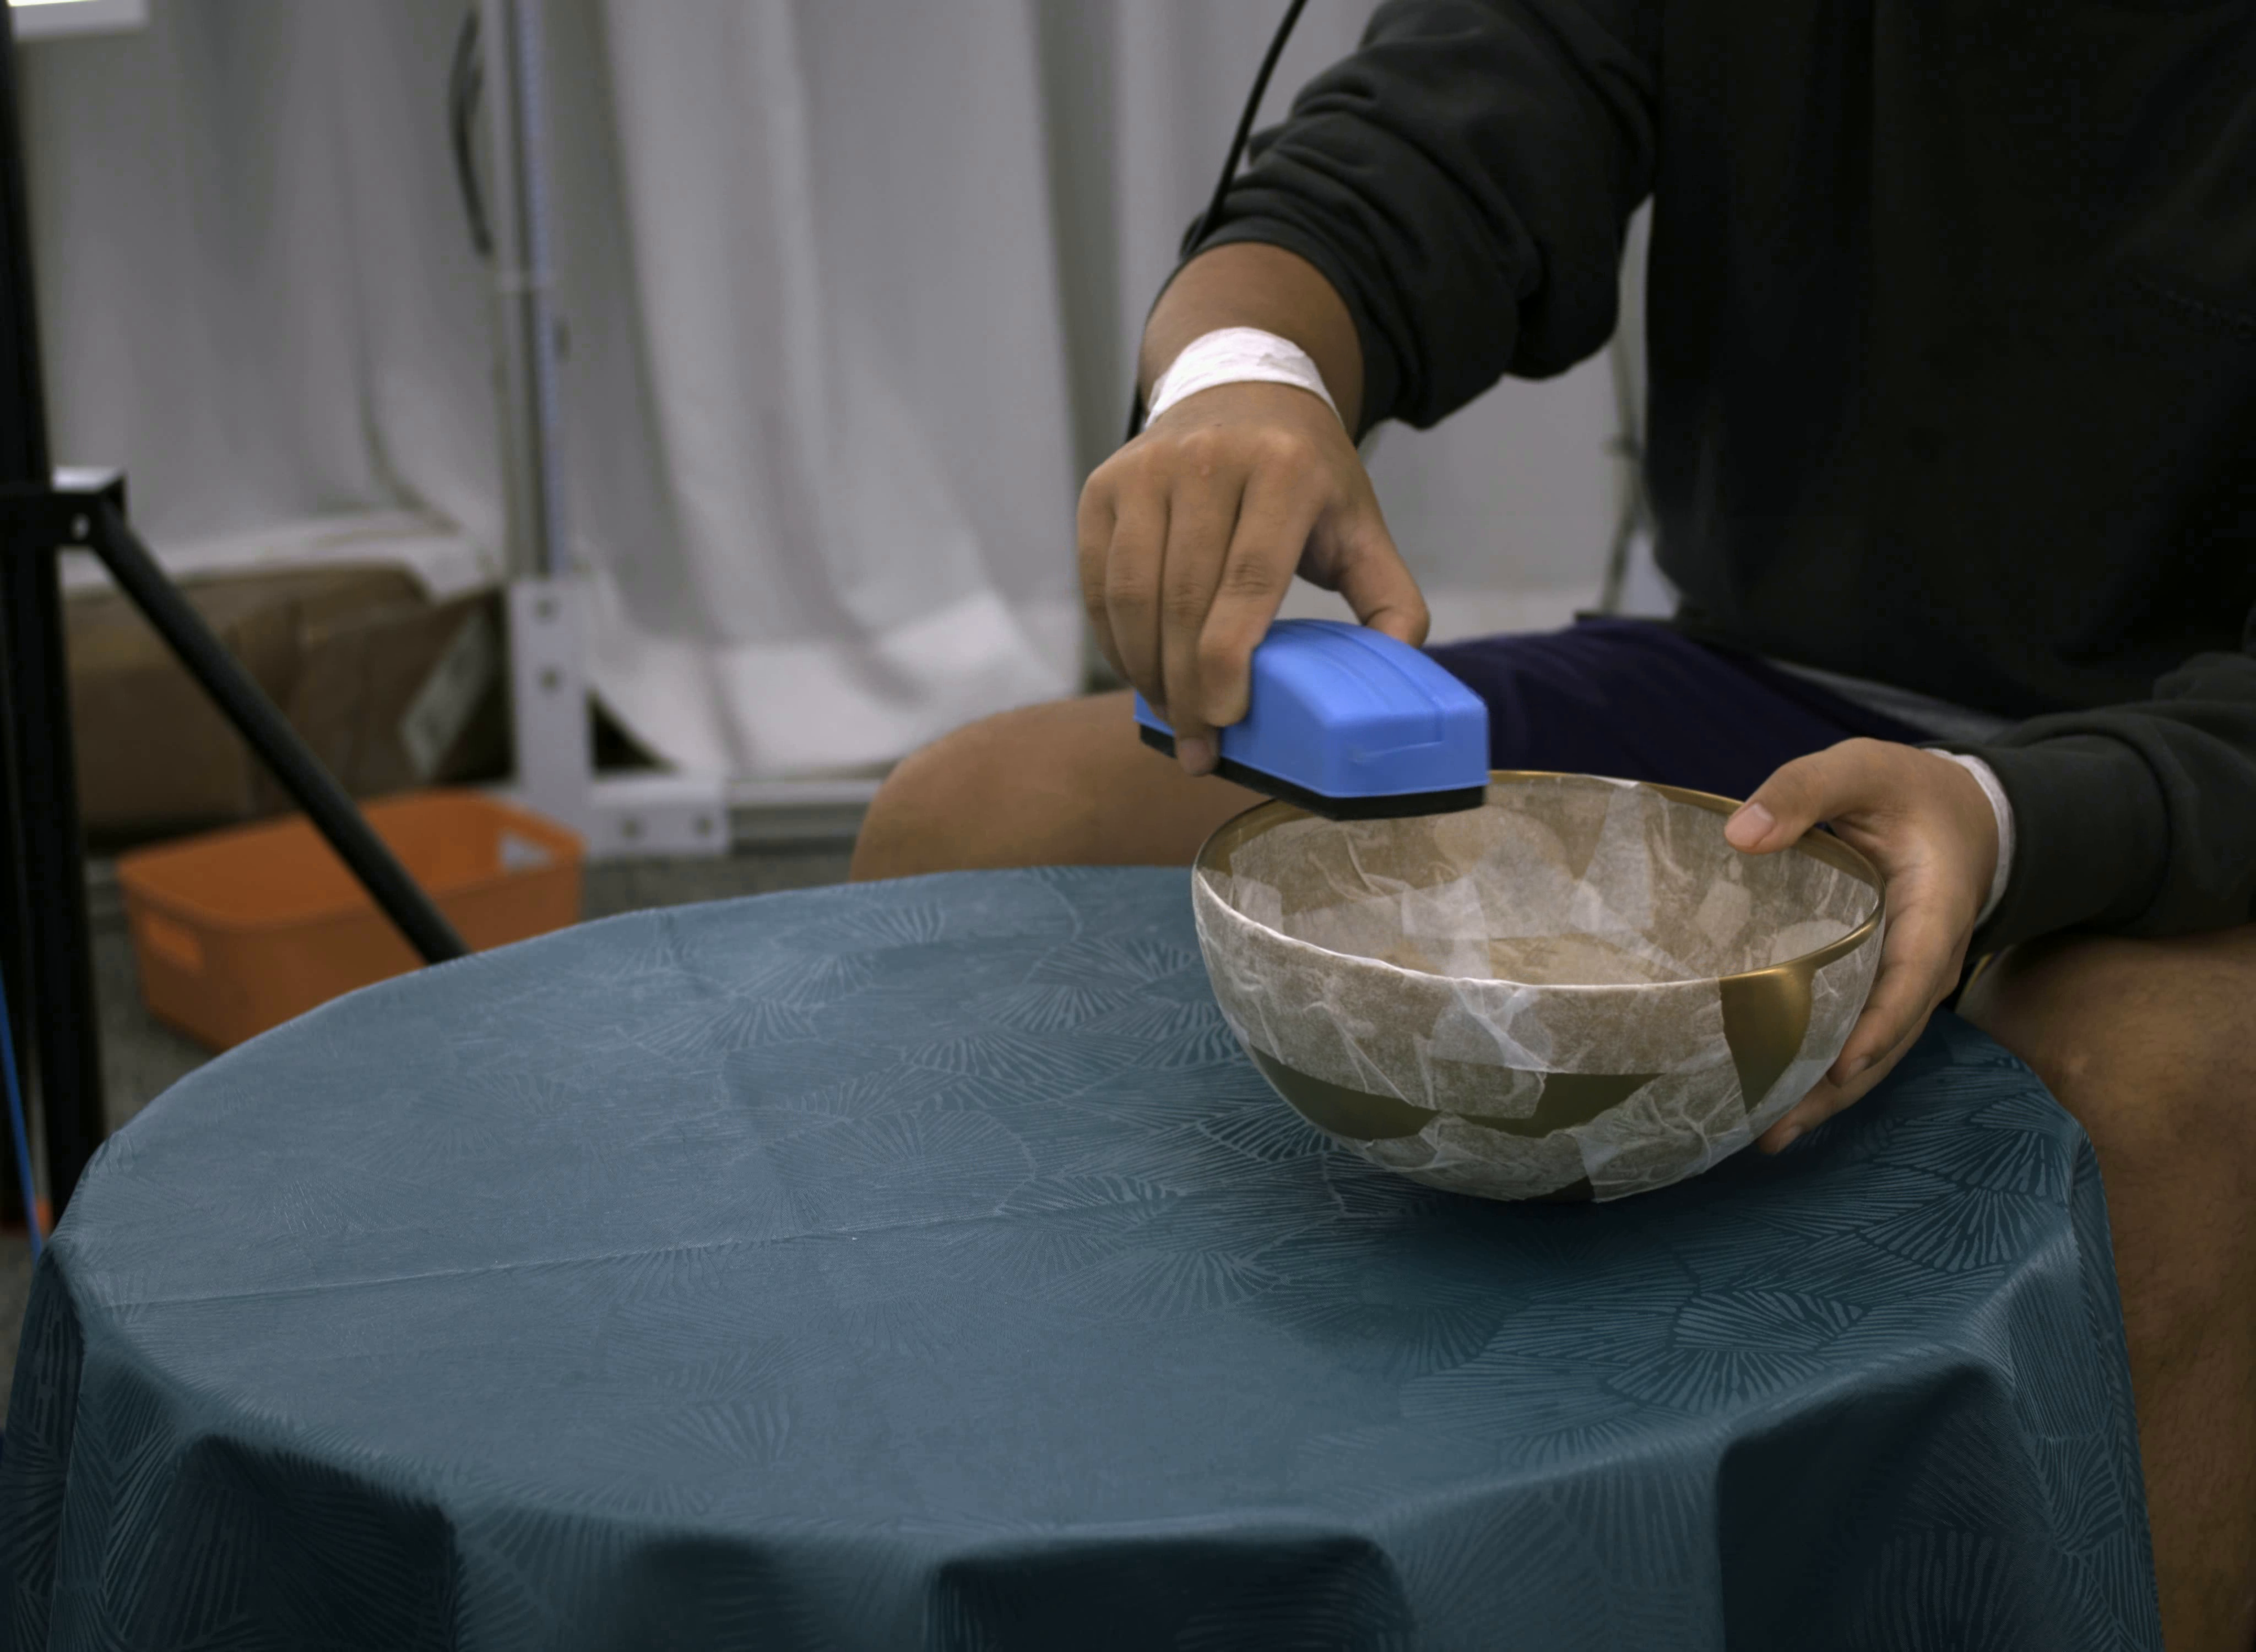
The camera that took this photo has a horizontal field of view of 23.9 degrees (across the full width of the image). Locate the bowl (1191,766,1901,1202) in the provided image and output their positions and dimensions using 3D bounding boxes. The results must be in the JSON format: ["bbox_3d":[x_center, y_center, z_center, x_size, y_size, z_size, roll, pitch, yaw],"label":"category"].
[{"bbox_3d":[0.121,0.054,1.546,0.213,0.094,0.216,0,17,-1],"label":"bowl"}]

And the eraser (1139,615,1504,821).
[{"bbox_3d":[0.056,-0.037,1.620,0.053,0.047,0.165,-8,12,-22],"label":"eraser"}]
